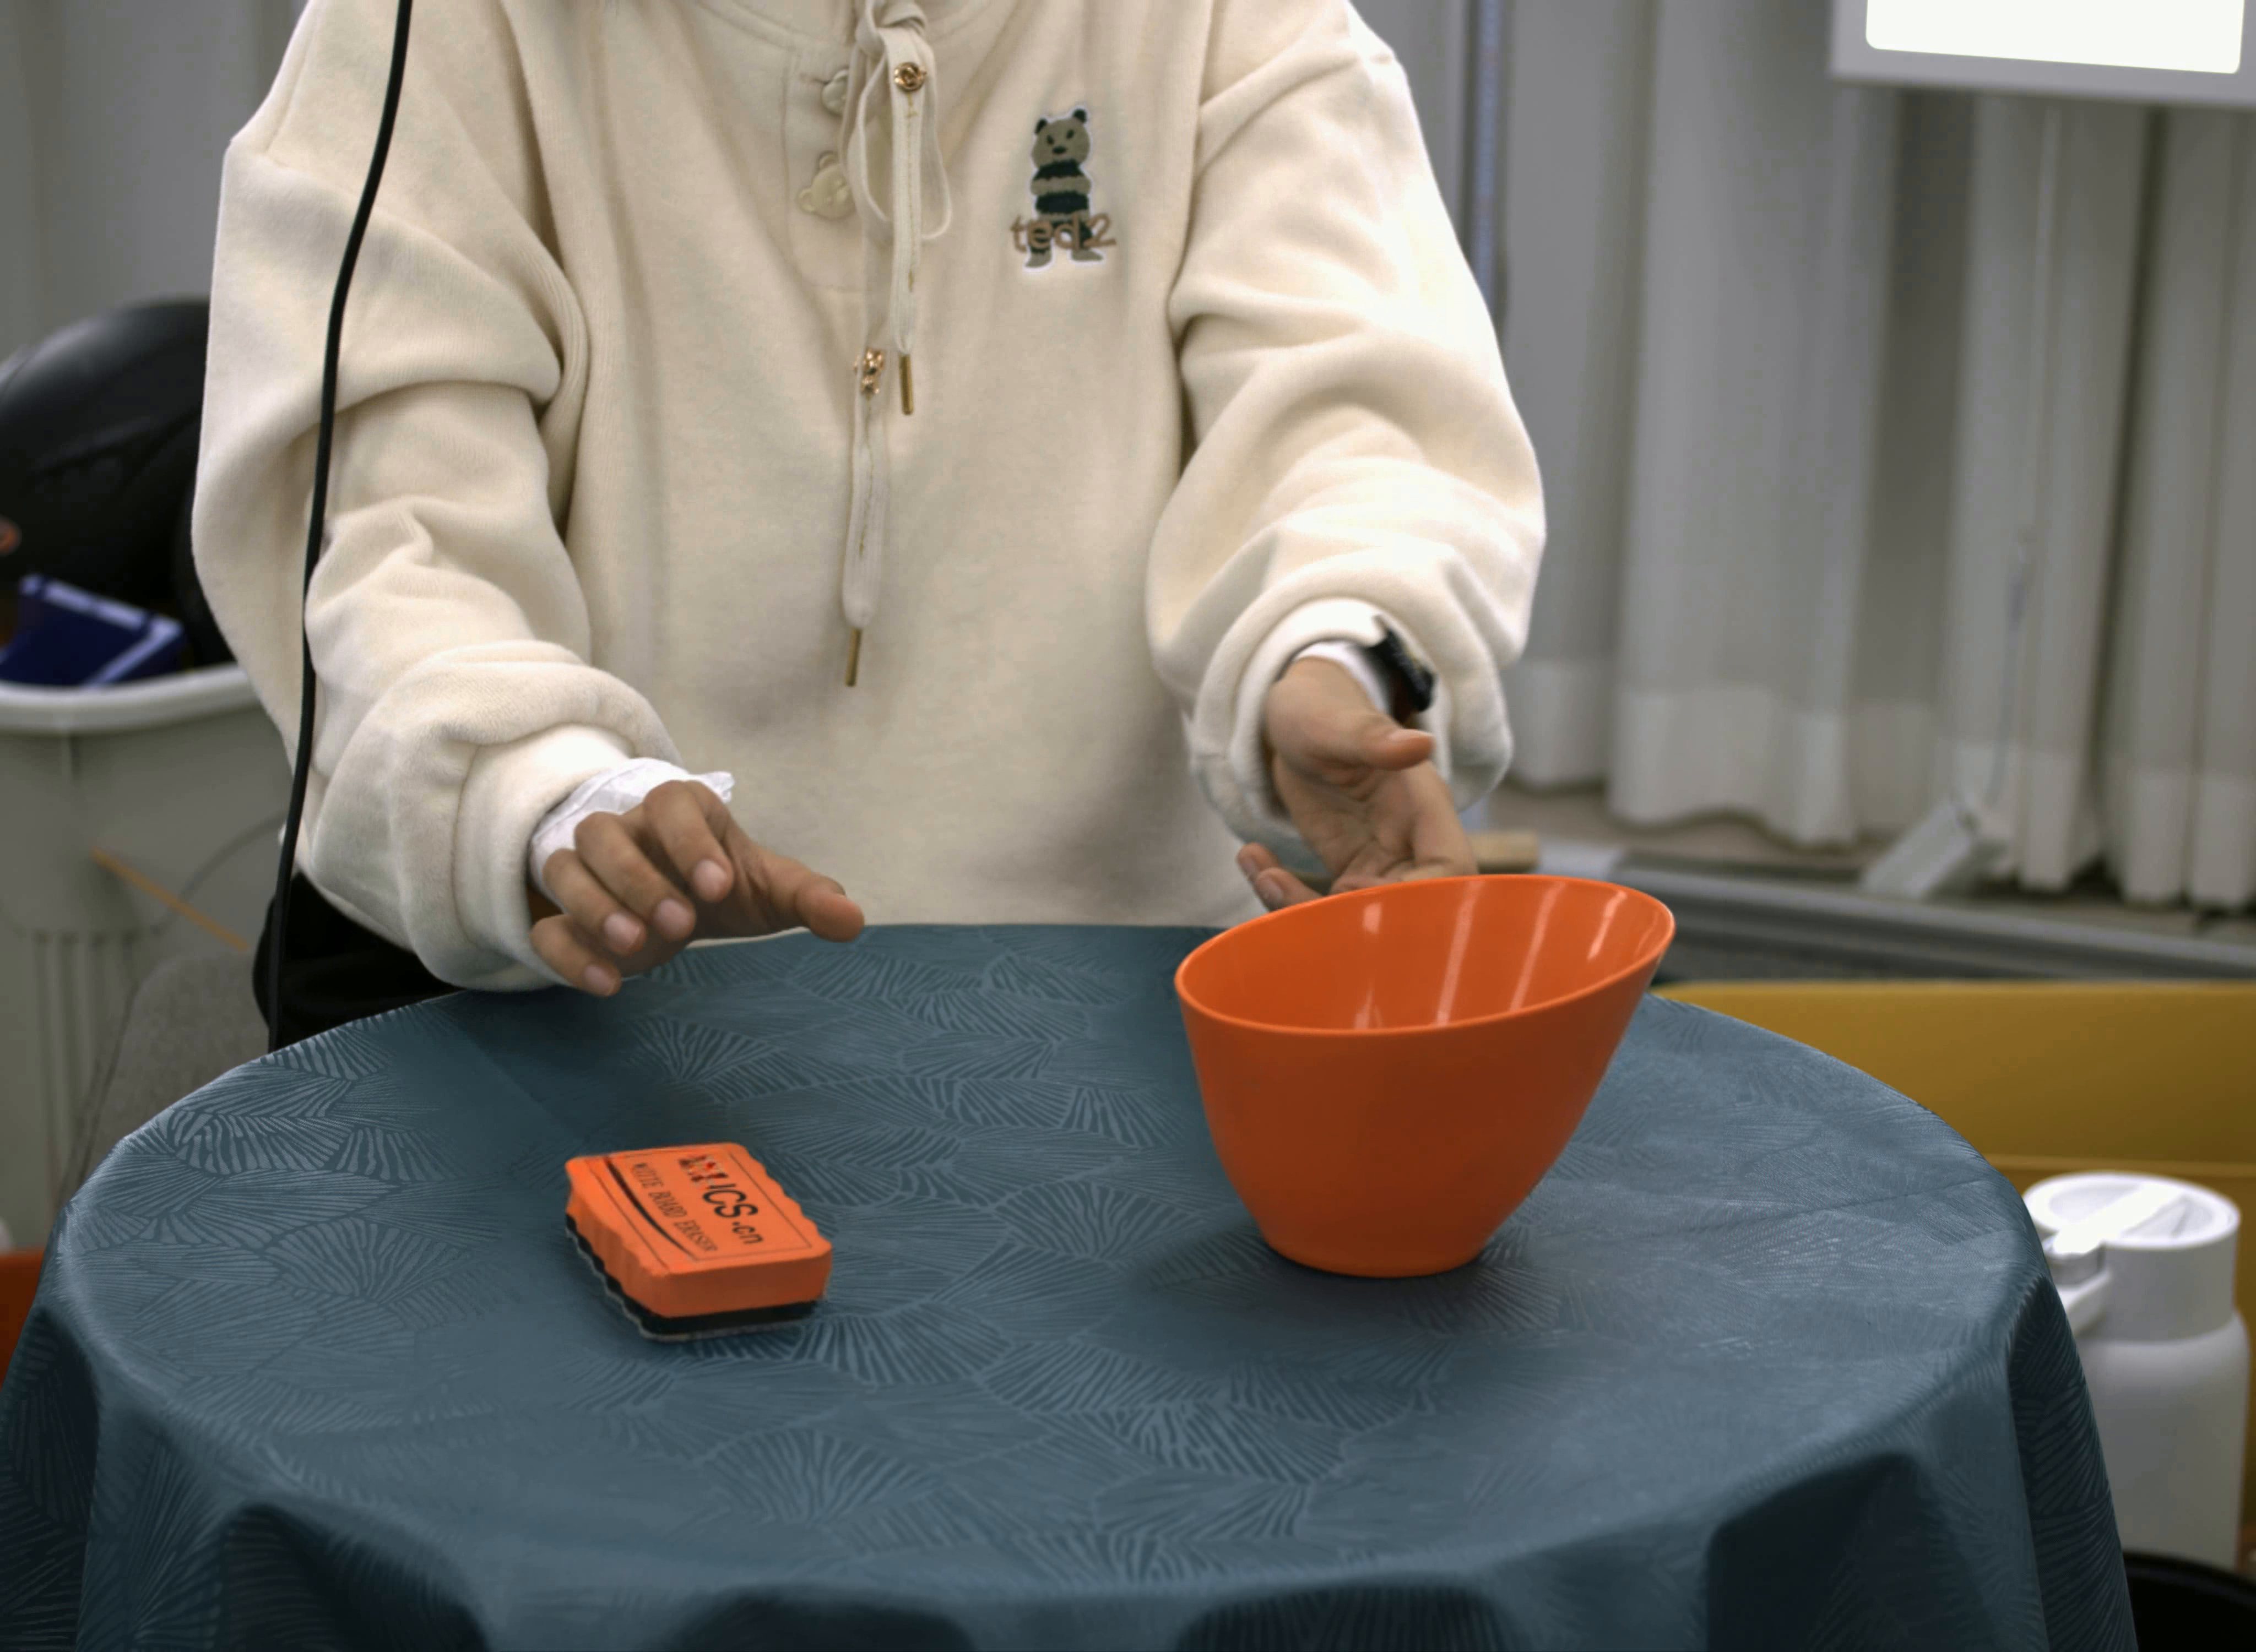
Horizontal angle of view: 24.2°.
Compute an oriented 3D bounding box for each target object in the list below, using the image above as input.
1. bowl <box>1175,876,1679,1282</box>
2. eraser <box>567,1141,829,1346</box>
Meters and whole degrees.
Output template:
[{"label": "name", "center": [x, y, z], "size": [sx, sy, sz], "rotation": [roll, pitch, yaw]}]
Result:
[{"label": "bowl", "center": [0.086, 0.076, 1.561], "size": [0.147, 0.105, 0.147], "rotation": [3, 17, 0]}, {"label": "eraser", "center": [-0.127, 0.121, 1.542], "size": [0.059, 0.023, 0.107], "rotation": [-7, 17, -18]}]
